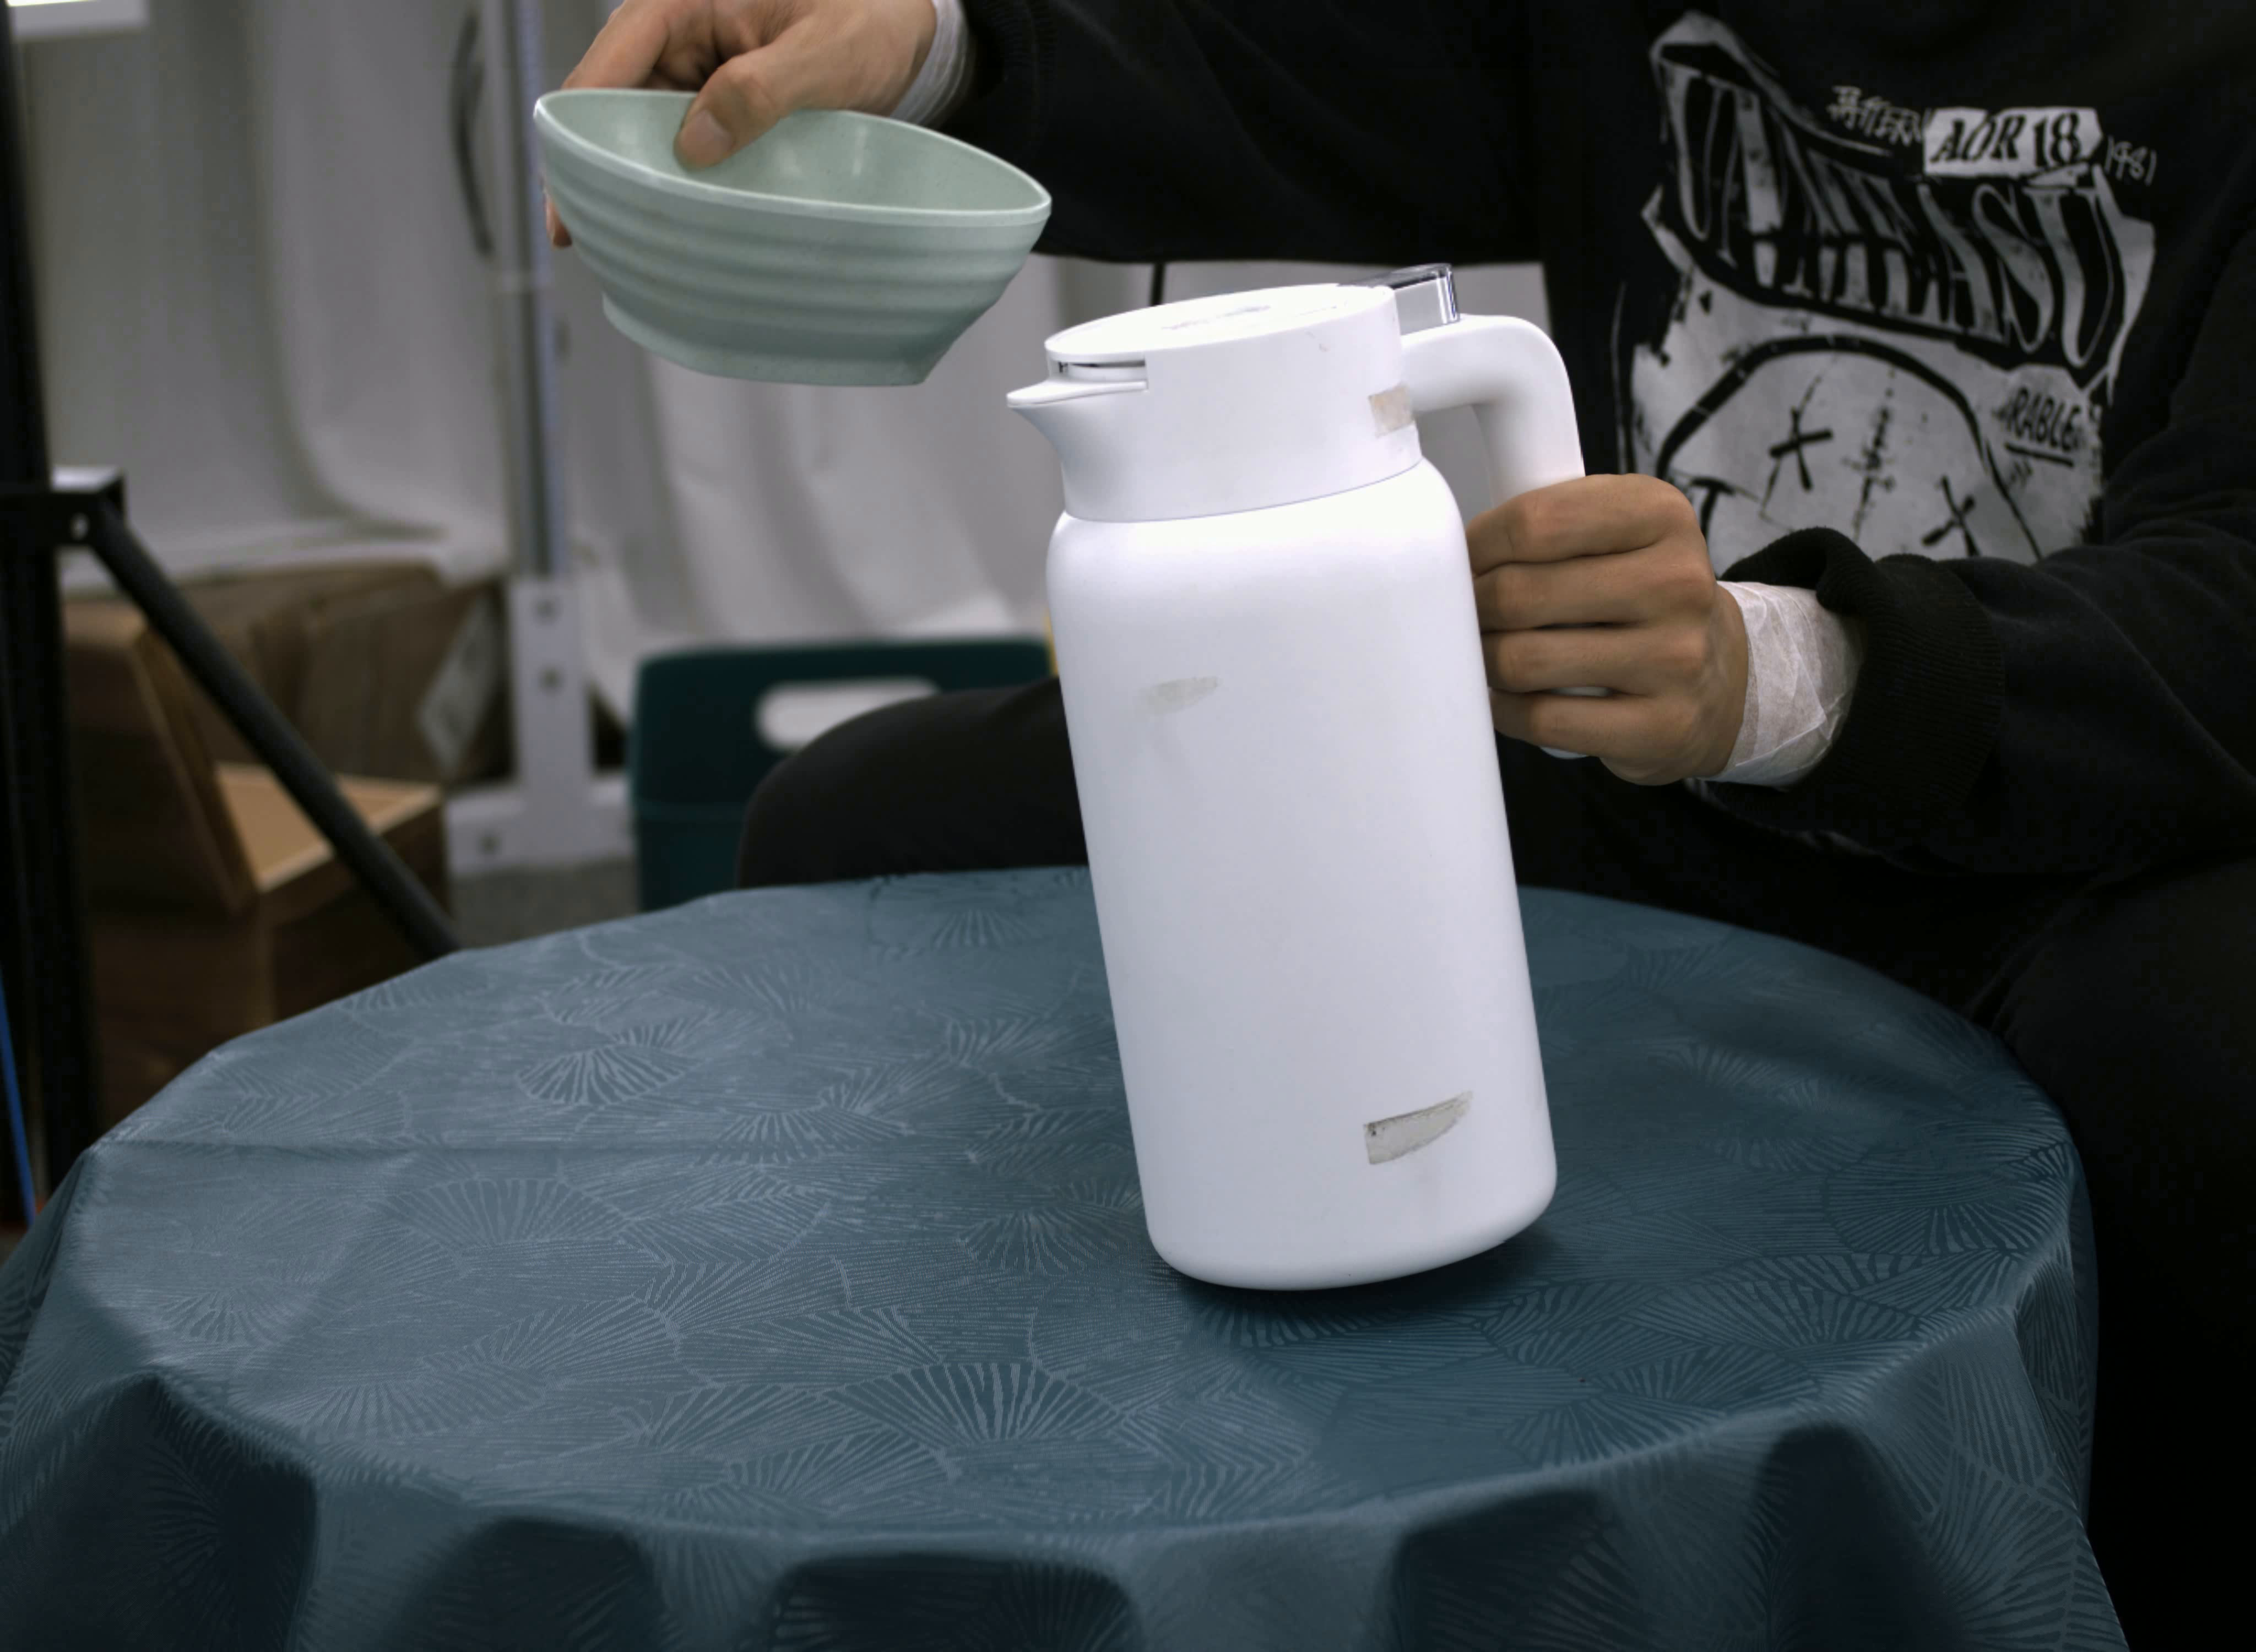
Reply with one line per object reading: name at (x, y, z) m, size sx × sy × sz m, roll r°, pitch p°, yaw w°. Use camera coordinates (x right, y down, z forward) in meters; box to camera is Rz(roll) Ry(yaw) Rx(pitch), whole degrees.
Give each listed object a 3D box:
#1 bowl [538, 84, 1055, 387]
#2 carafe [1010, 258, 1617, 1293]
bowl at (-0.097, -0.163, 1.503) m, size 0.150 × 0.059 × 0.152 m, roll 7°, pitch 18°, yaw -4°
carafe at (0.060, -0.017, 1.477) m, size 0.169 × 0.269 × 0.126 m, roll -15°, pitch 11°, yaw -29°
